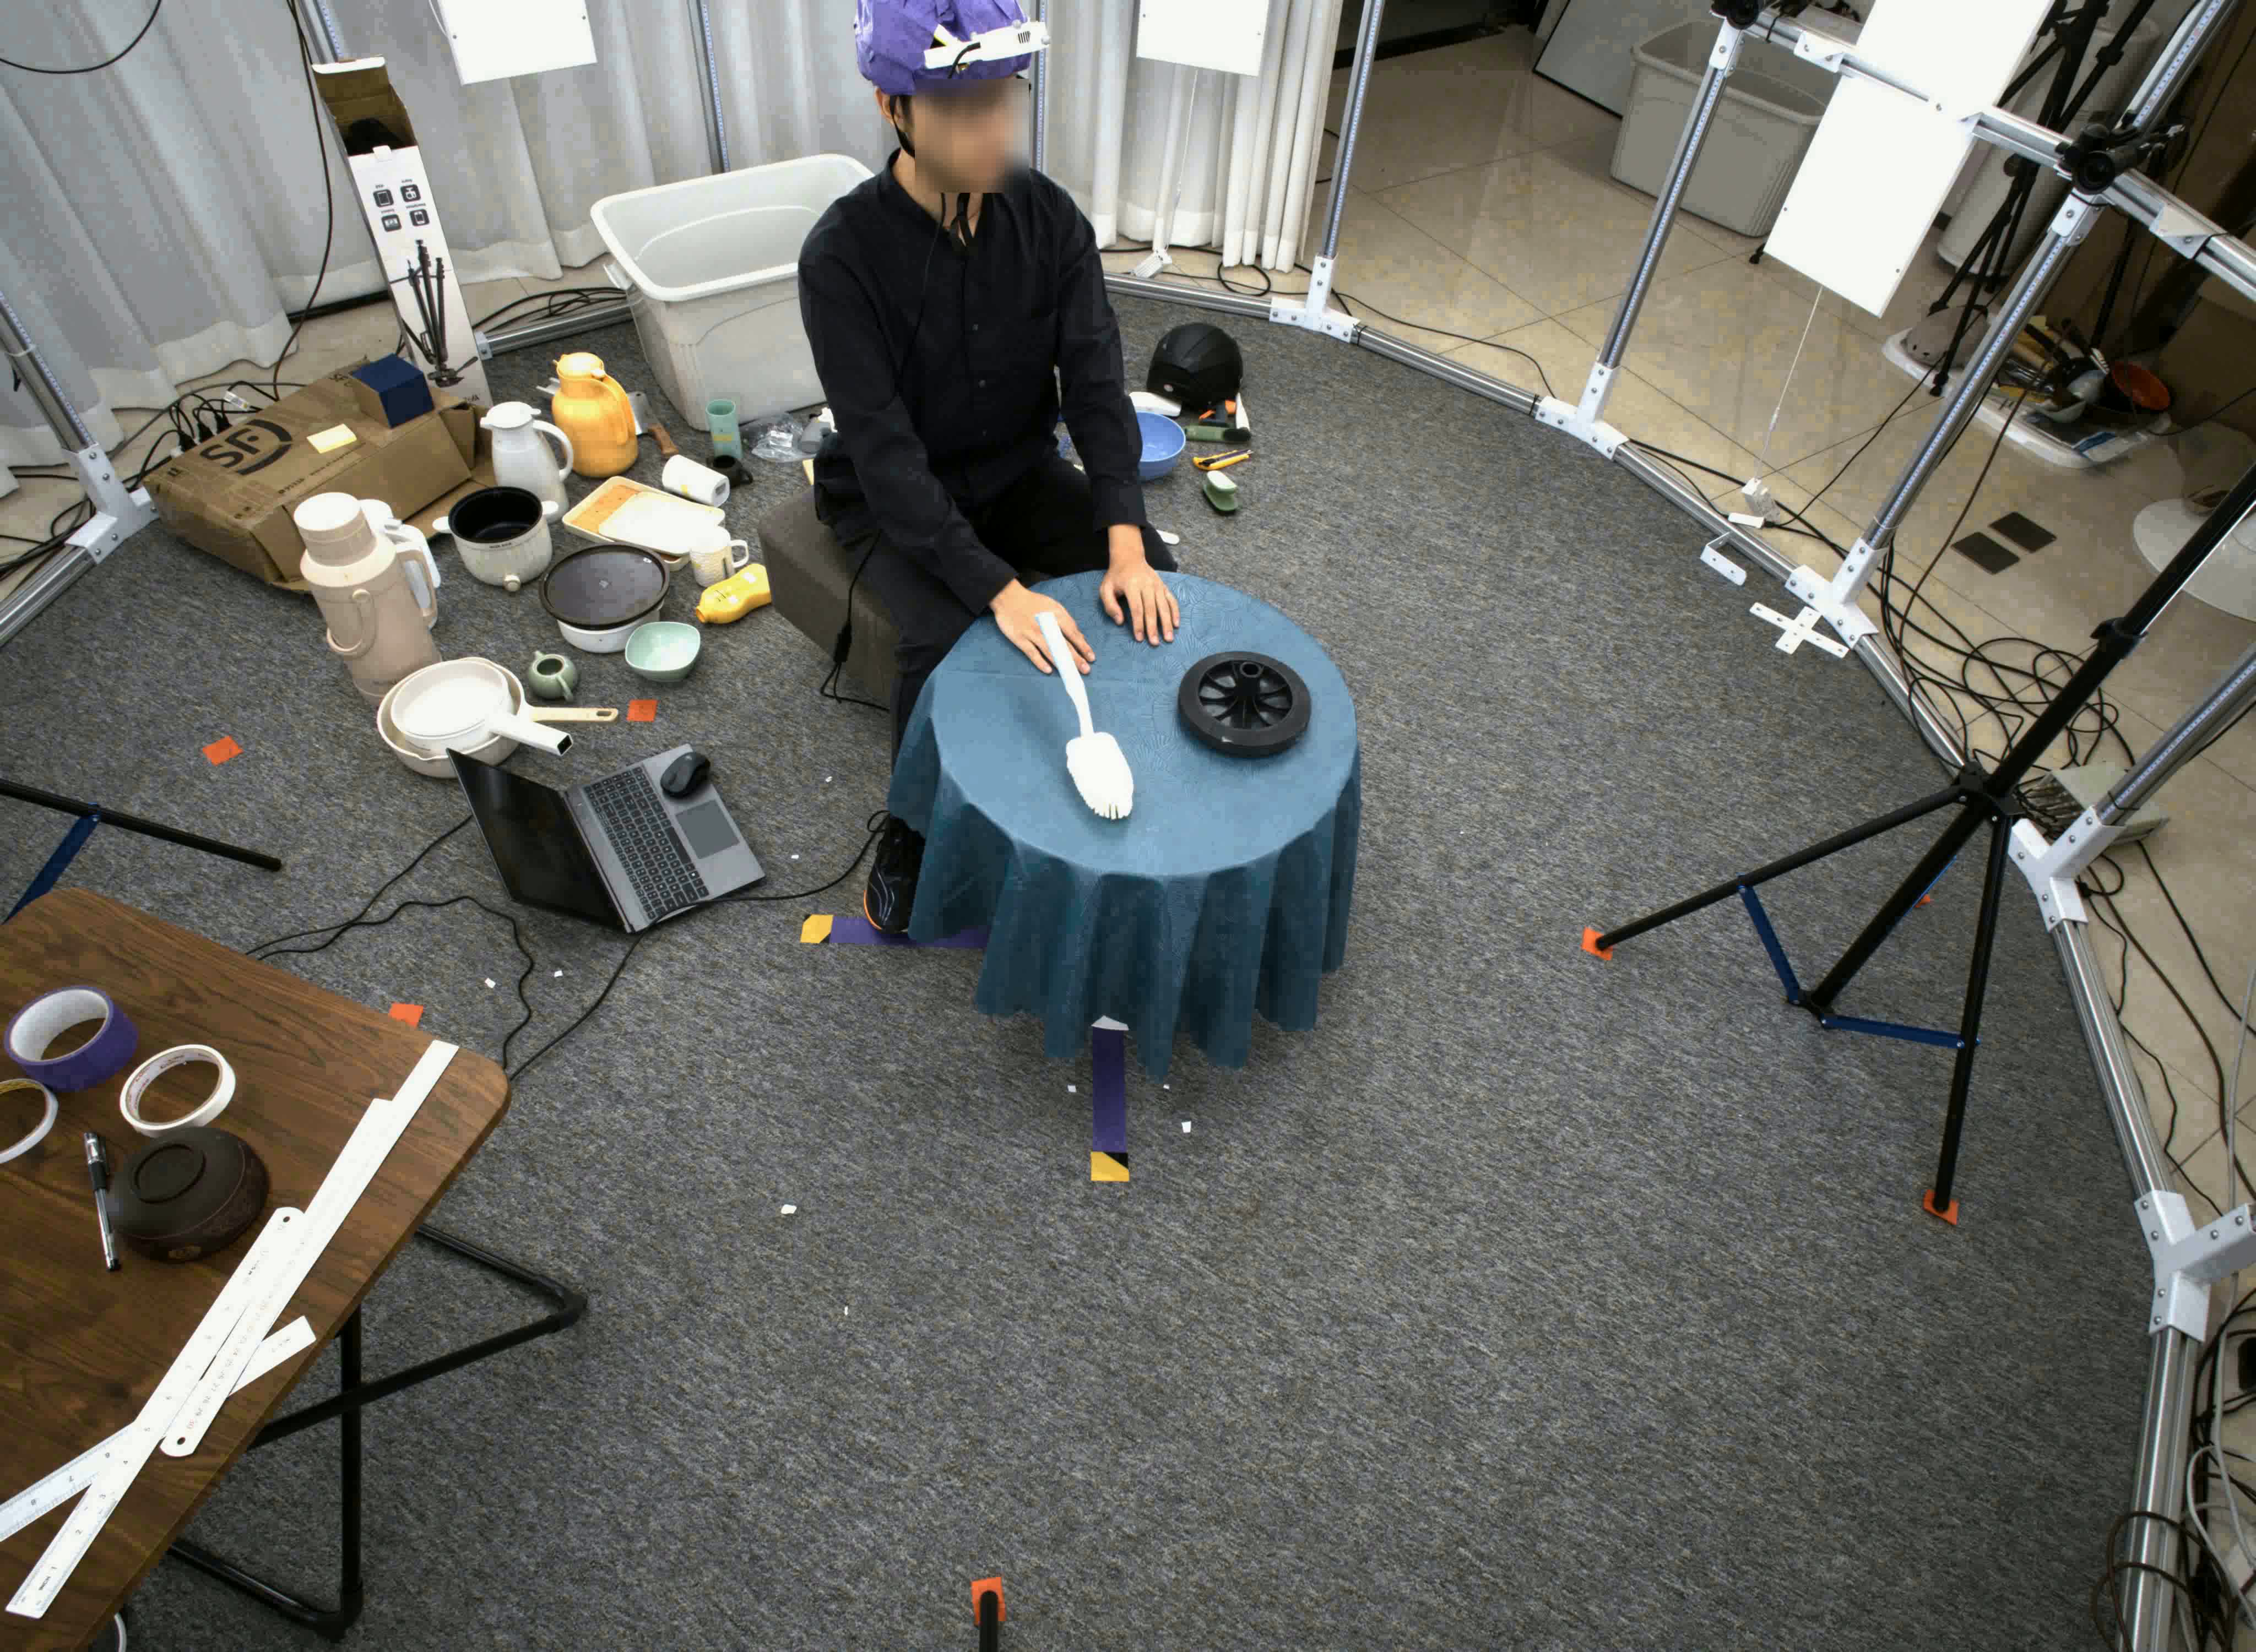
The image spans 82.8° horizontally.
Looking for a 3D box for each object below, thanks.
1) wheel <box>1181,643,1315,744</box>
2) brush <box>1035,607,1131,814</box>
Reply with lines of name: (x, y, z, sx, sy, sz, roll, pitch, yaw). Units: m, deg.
wheel: (0.171, -0.204, 1.804, 0.190, 0.077, 0.192, 5, 50, 2)
brush: (-0.065, -0.154, 1.744, 0.082, 0.083, 0.332, 9, 50, -48)
